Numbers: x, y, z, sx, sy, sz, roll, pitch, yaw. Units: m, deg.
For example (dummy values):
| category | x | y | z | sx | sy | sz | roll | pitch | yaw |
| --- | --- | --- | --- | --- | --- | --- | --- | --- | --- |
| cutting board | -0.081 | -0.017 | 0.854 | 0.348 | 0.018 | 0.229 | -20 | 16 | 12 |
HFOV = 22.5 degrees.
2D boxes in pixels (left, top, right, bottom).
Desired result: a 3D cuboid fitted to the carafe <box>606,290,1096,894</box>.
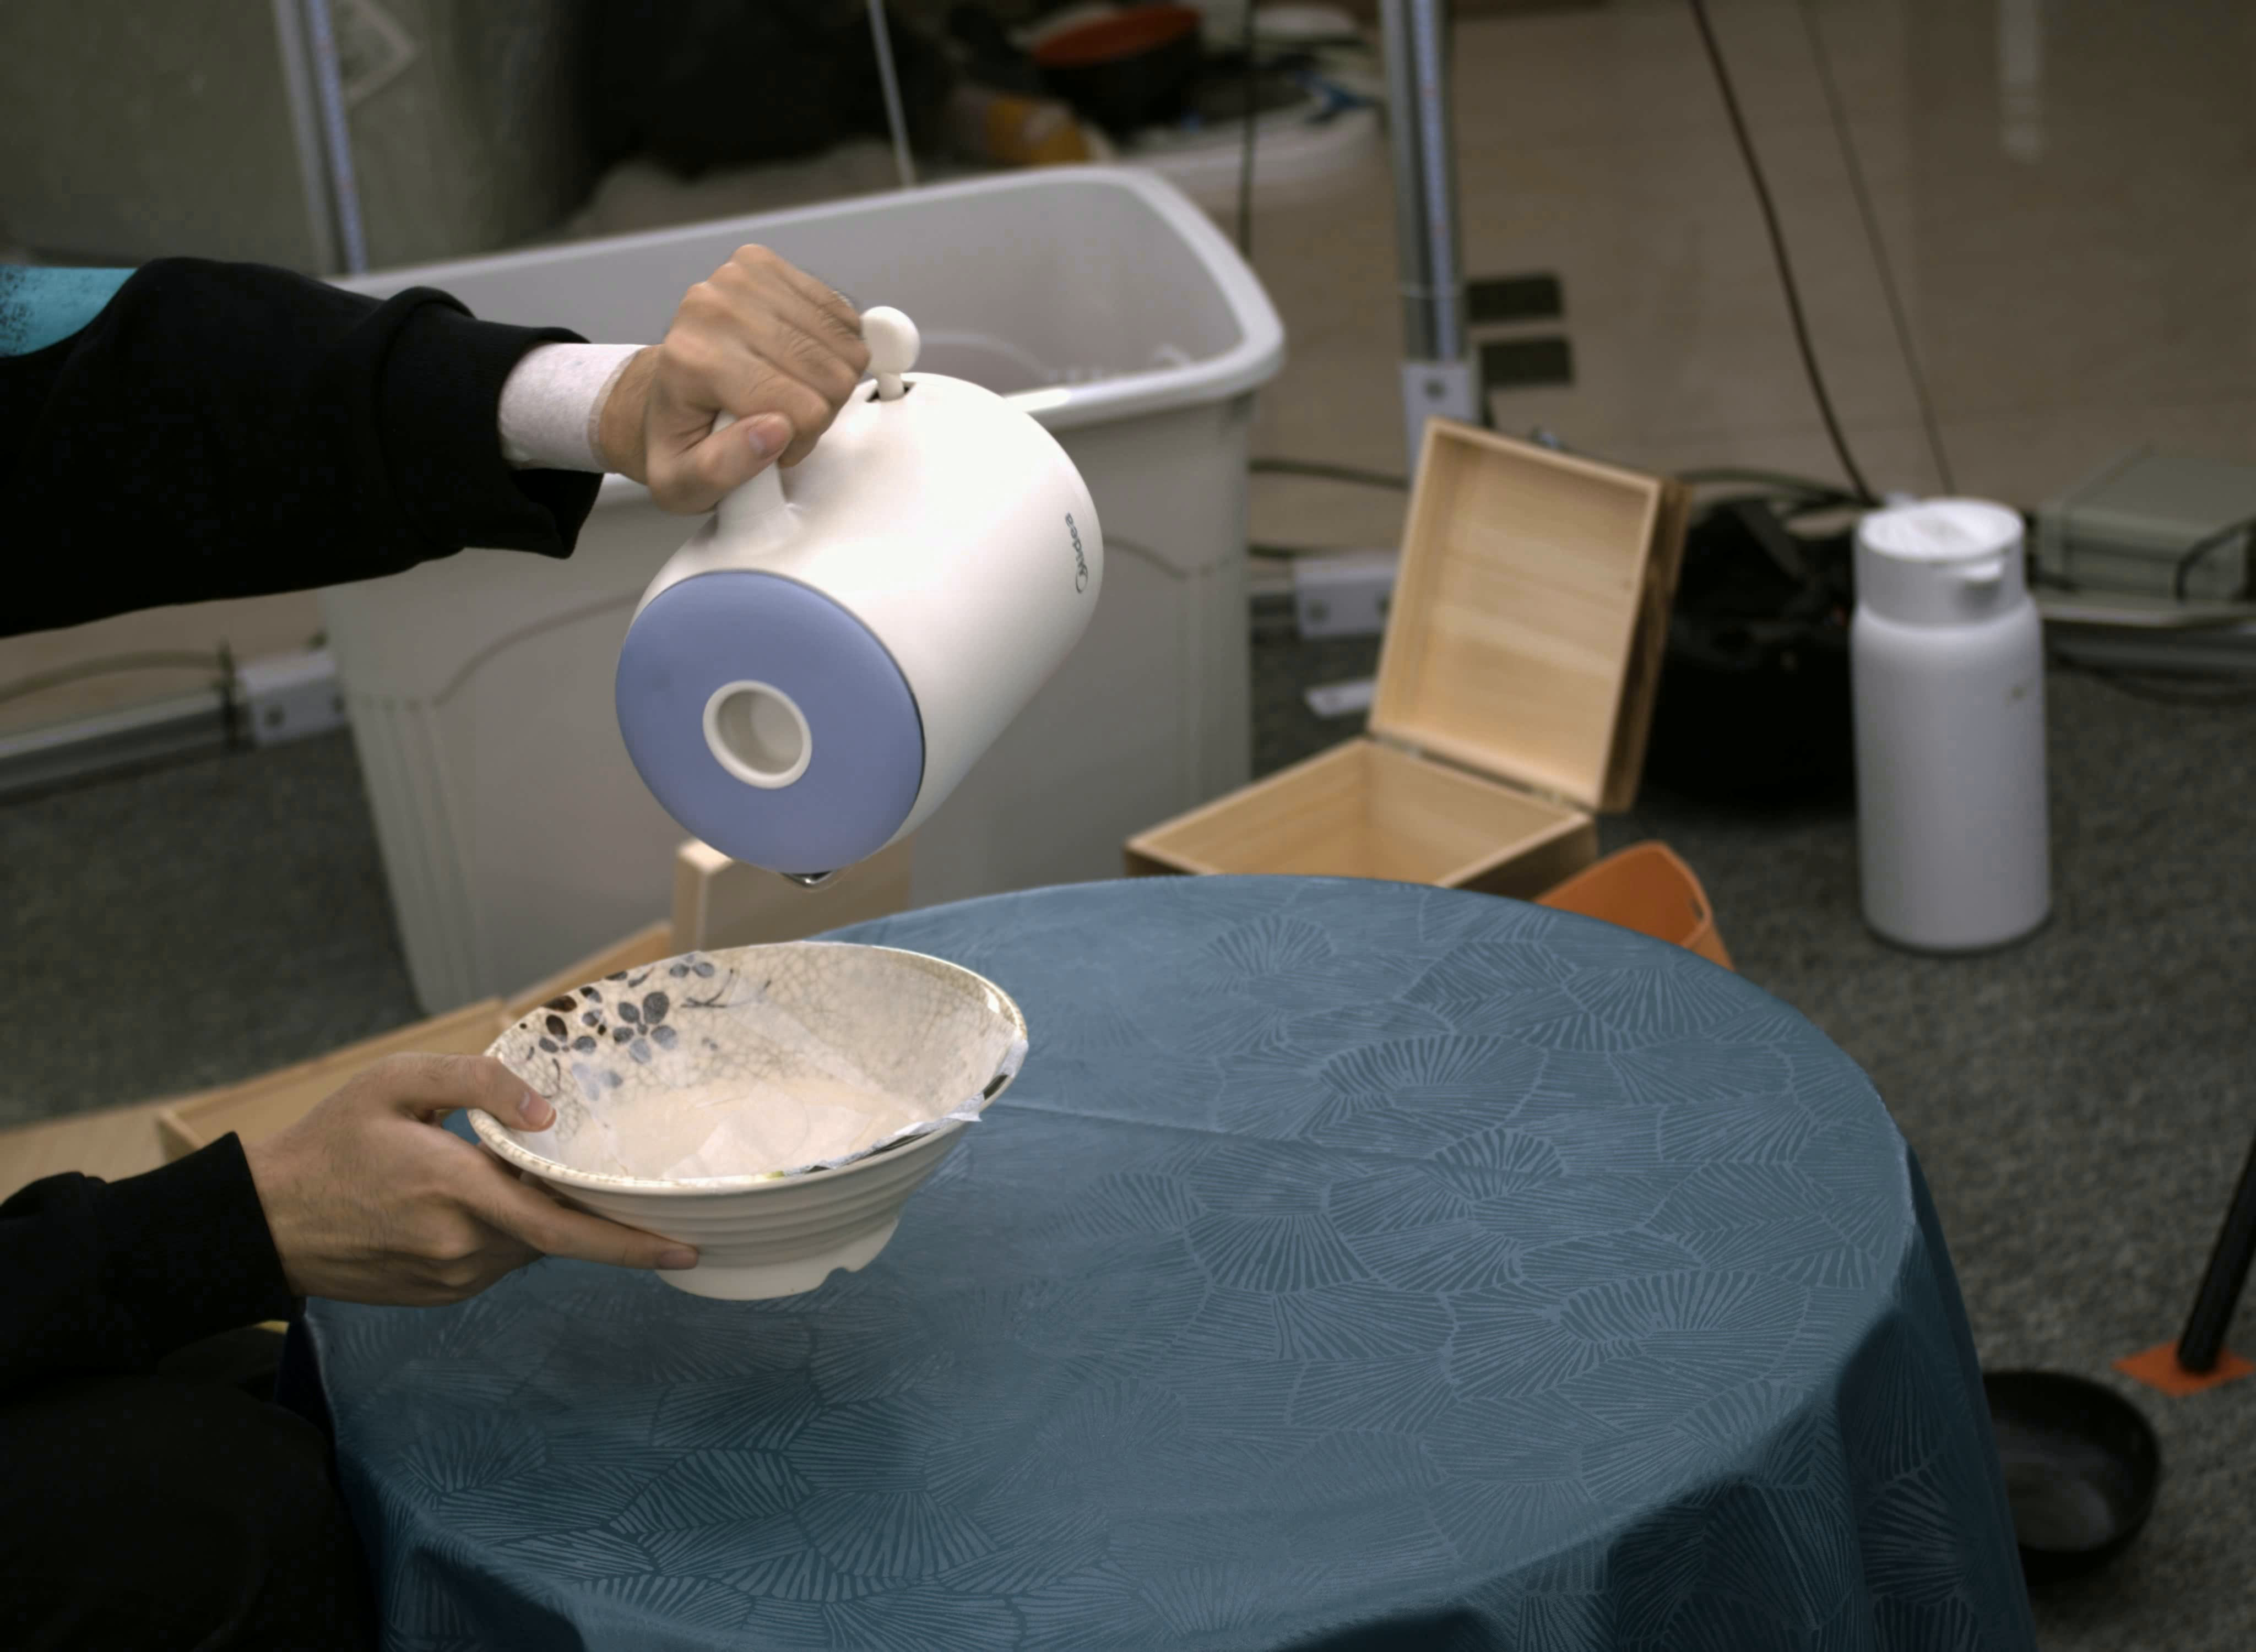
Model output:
| category | x | y | z | sx | sy | sz | roll | pitch | yaw |
| --- | --- | --- | --- | --- | --- | --- | --- | --- | --- |
| carafe | -0.105 | -0.096 | 2.039 | 0.132 | 0.194 | 0.180 | -2 | 26 | 25 |

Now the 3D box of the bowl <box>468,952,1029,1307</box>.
| category | x | y | z | sx | sy | sz | roll | pitch | yaw |
| --- | --- | --- | --- | --- | --- | --- | --- | --- | --- |
| bowl | -0.131 | 0.119 | 2.044 | 0.204 | 0.079 | 0.201 | -7 | 22 | 3 |
